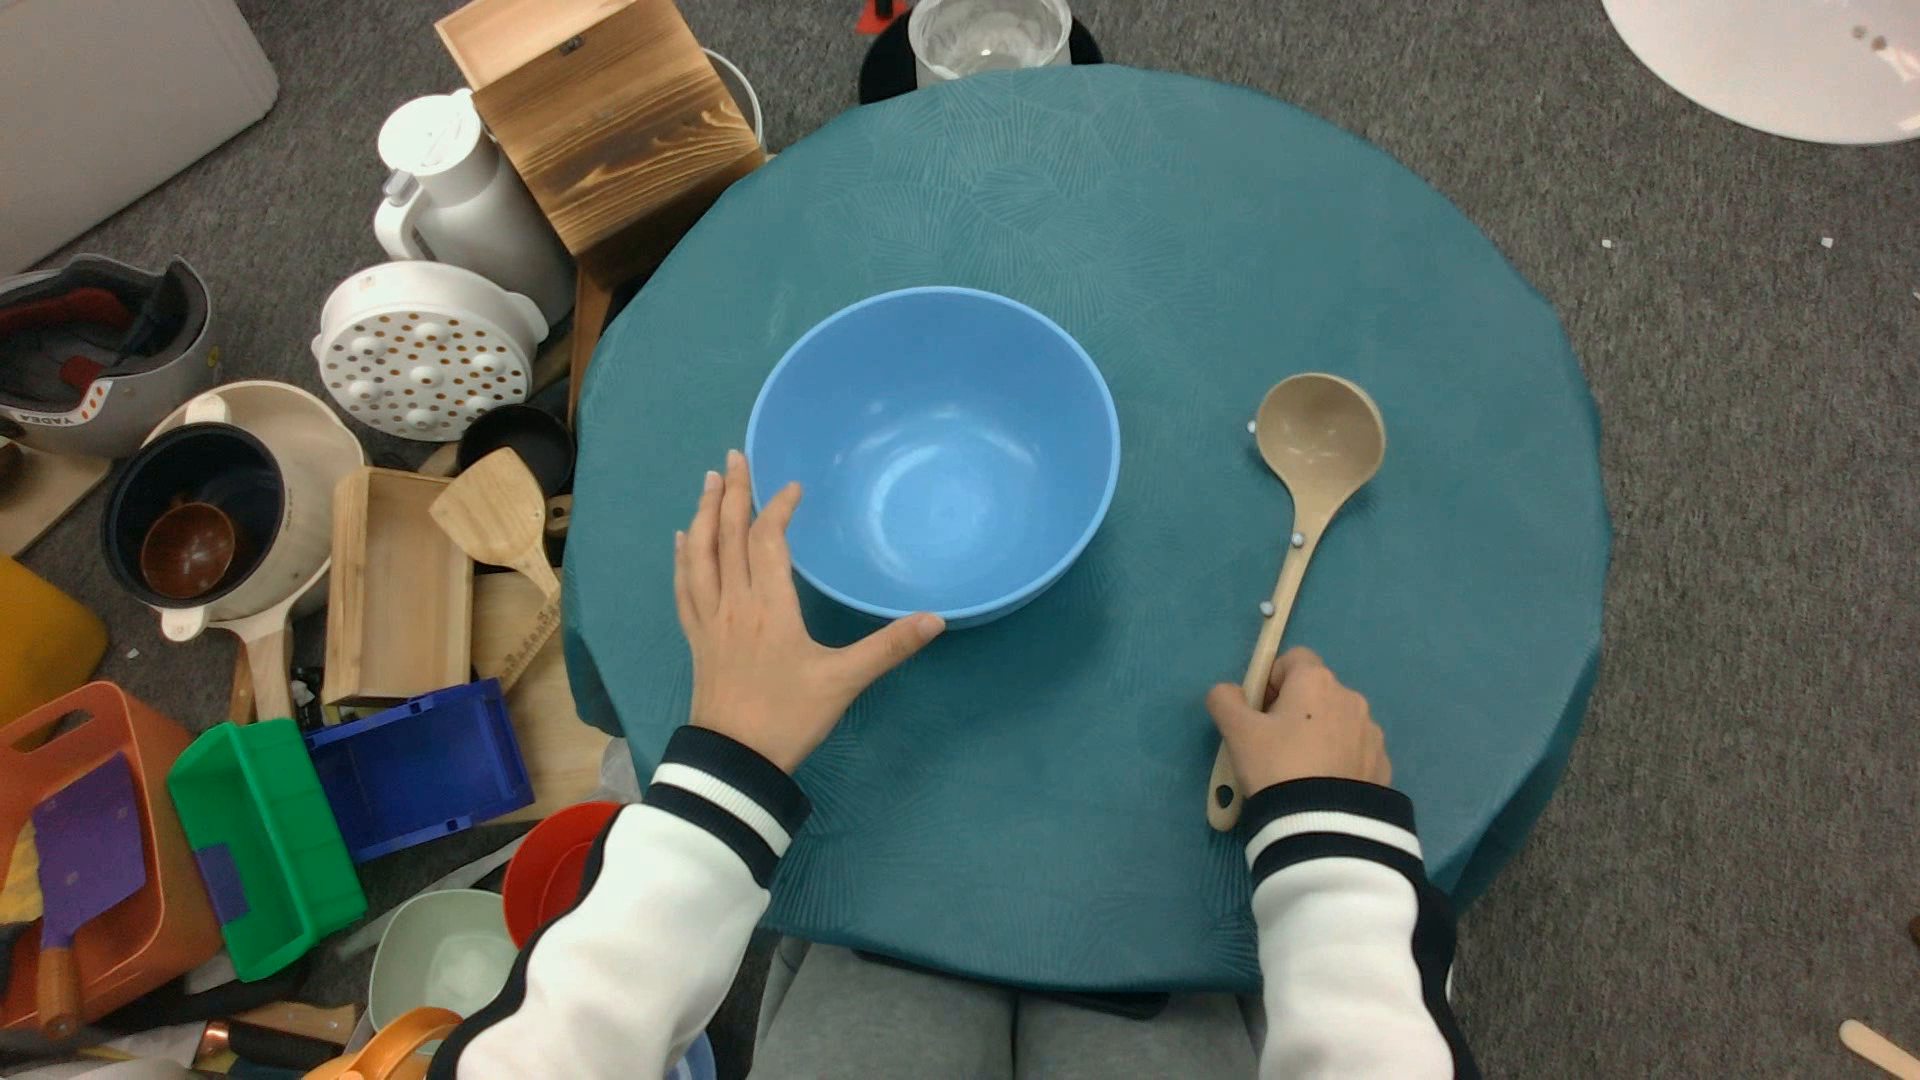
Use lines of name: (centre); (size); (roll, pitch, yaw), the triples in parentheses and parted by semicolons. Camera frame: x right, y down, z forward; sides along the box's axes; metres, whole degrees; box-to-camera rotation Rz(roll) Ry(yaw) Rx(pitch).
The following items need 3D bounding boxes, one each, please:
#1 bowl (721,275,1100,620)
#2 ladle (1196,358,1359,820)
bowl: (-0.025, -0.038, 0.756); (0.196, 0.095, 0.197); (0, 66, 0)
ladle: (0.154, 0.016, 0.729); (0.072, 0.072, 0.255); (5, 60, 30)
